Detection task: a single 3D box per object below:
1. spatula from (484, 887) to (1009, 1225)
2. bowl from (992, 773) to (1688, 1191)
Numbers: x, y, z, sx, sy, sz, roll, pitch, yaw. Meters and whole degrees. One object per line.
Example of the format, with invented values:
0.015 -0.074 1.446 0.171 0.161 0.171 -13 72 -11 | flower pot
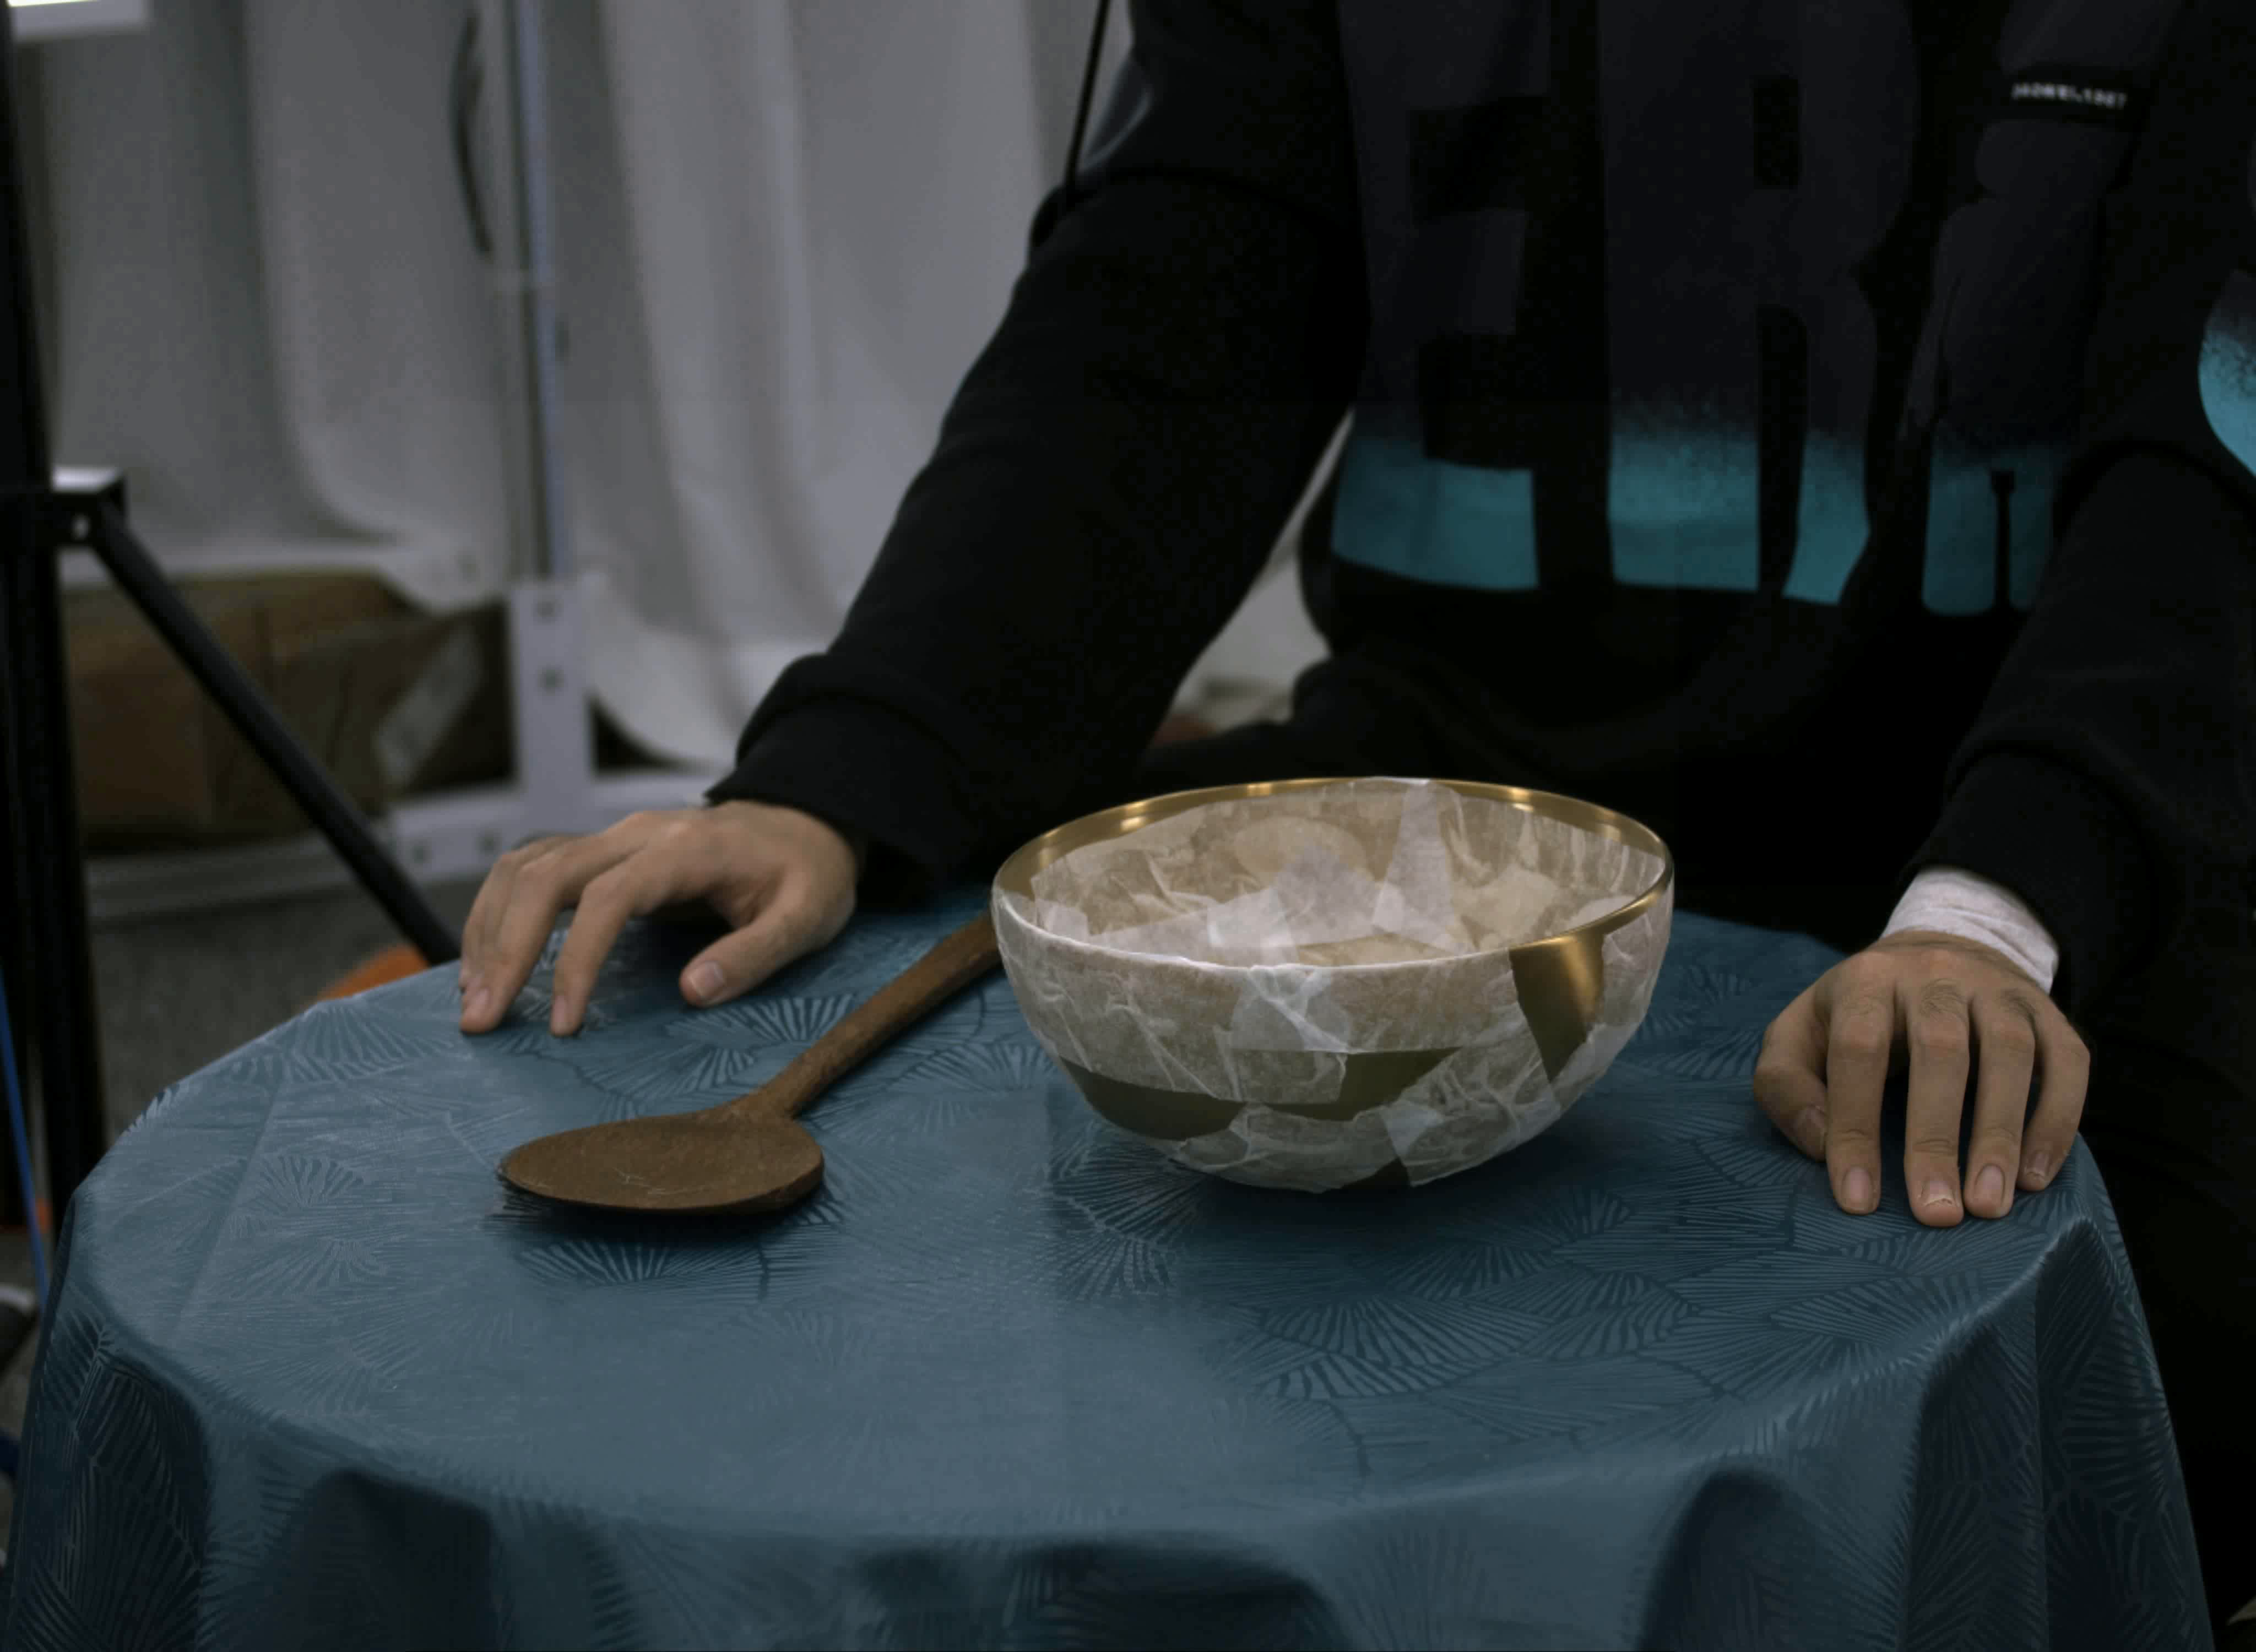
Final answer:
-0.082 0.063 1.705 0.097 0.016 0.381 5 17 22 | spatula
0.065 0.053 1.568 0.213 0.094 0.216 -4 14 0 | bowl
